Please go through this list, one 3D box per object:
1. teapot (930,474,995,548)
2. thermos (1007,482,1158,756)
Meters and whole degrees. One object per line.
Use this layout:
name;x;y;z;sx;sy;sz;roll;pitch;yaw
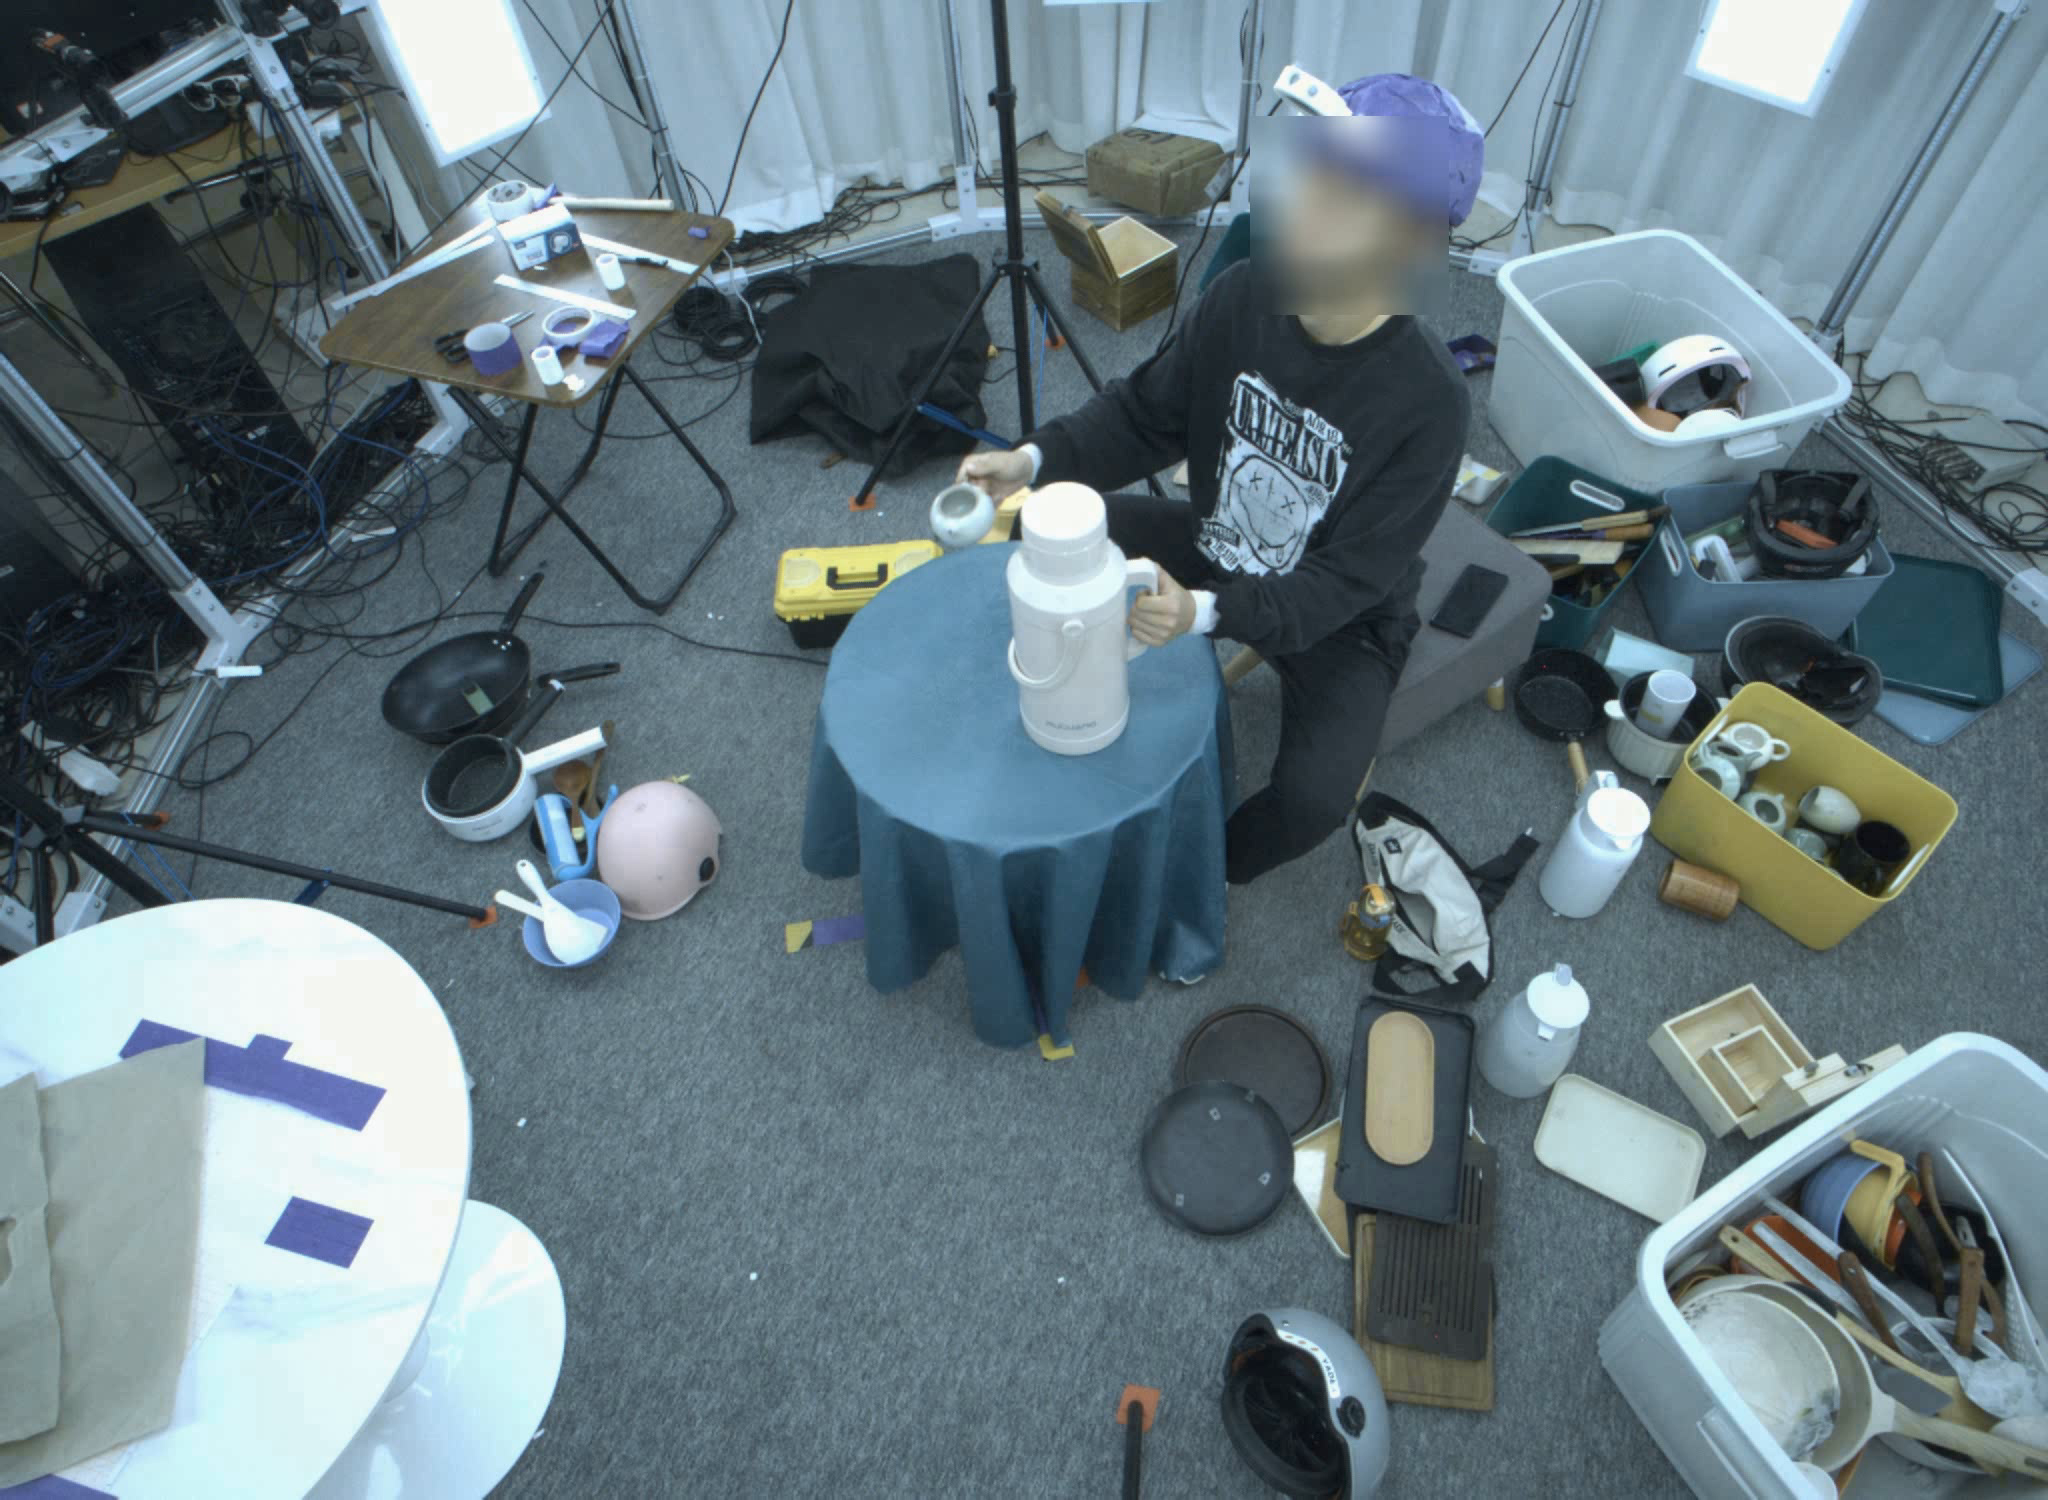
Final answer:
teapot;-0.086;-0.333;1.712;0.091;0.060;0.127;3;62;15
thermos;0.077;-0.173;1.658;0.207;0.411;0.173;-7;52;0
